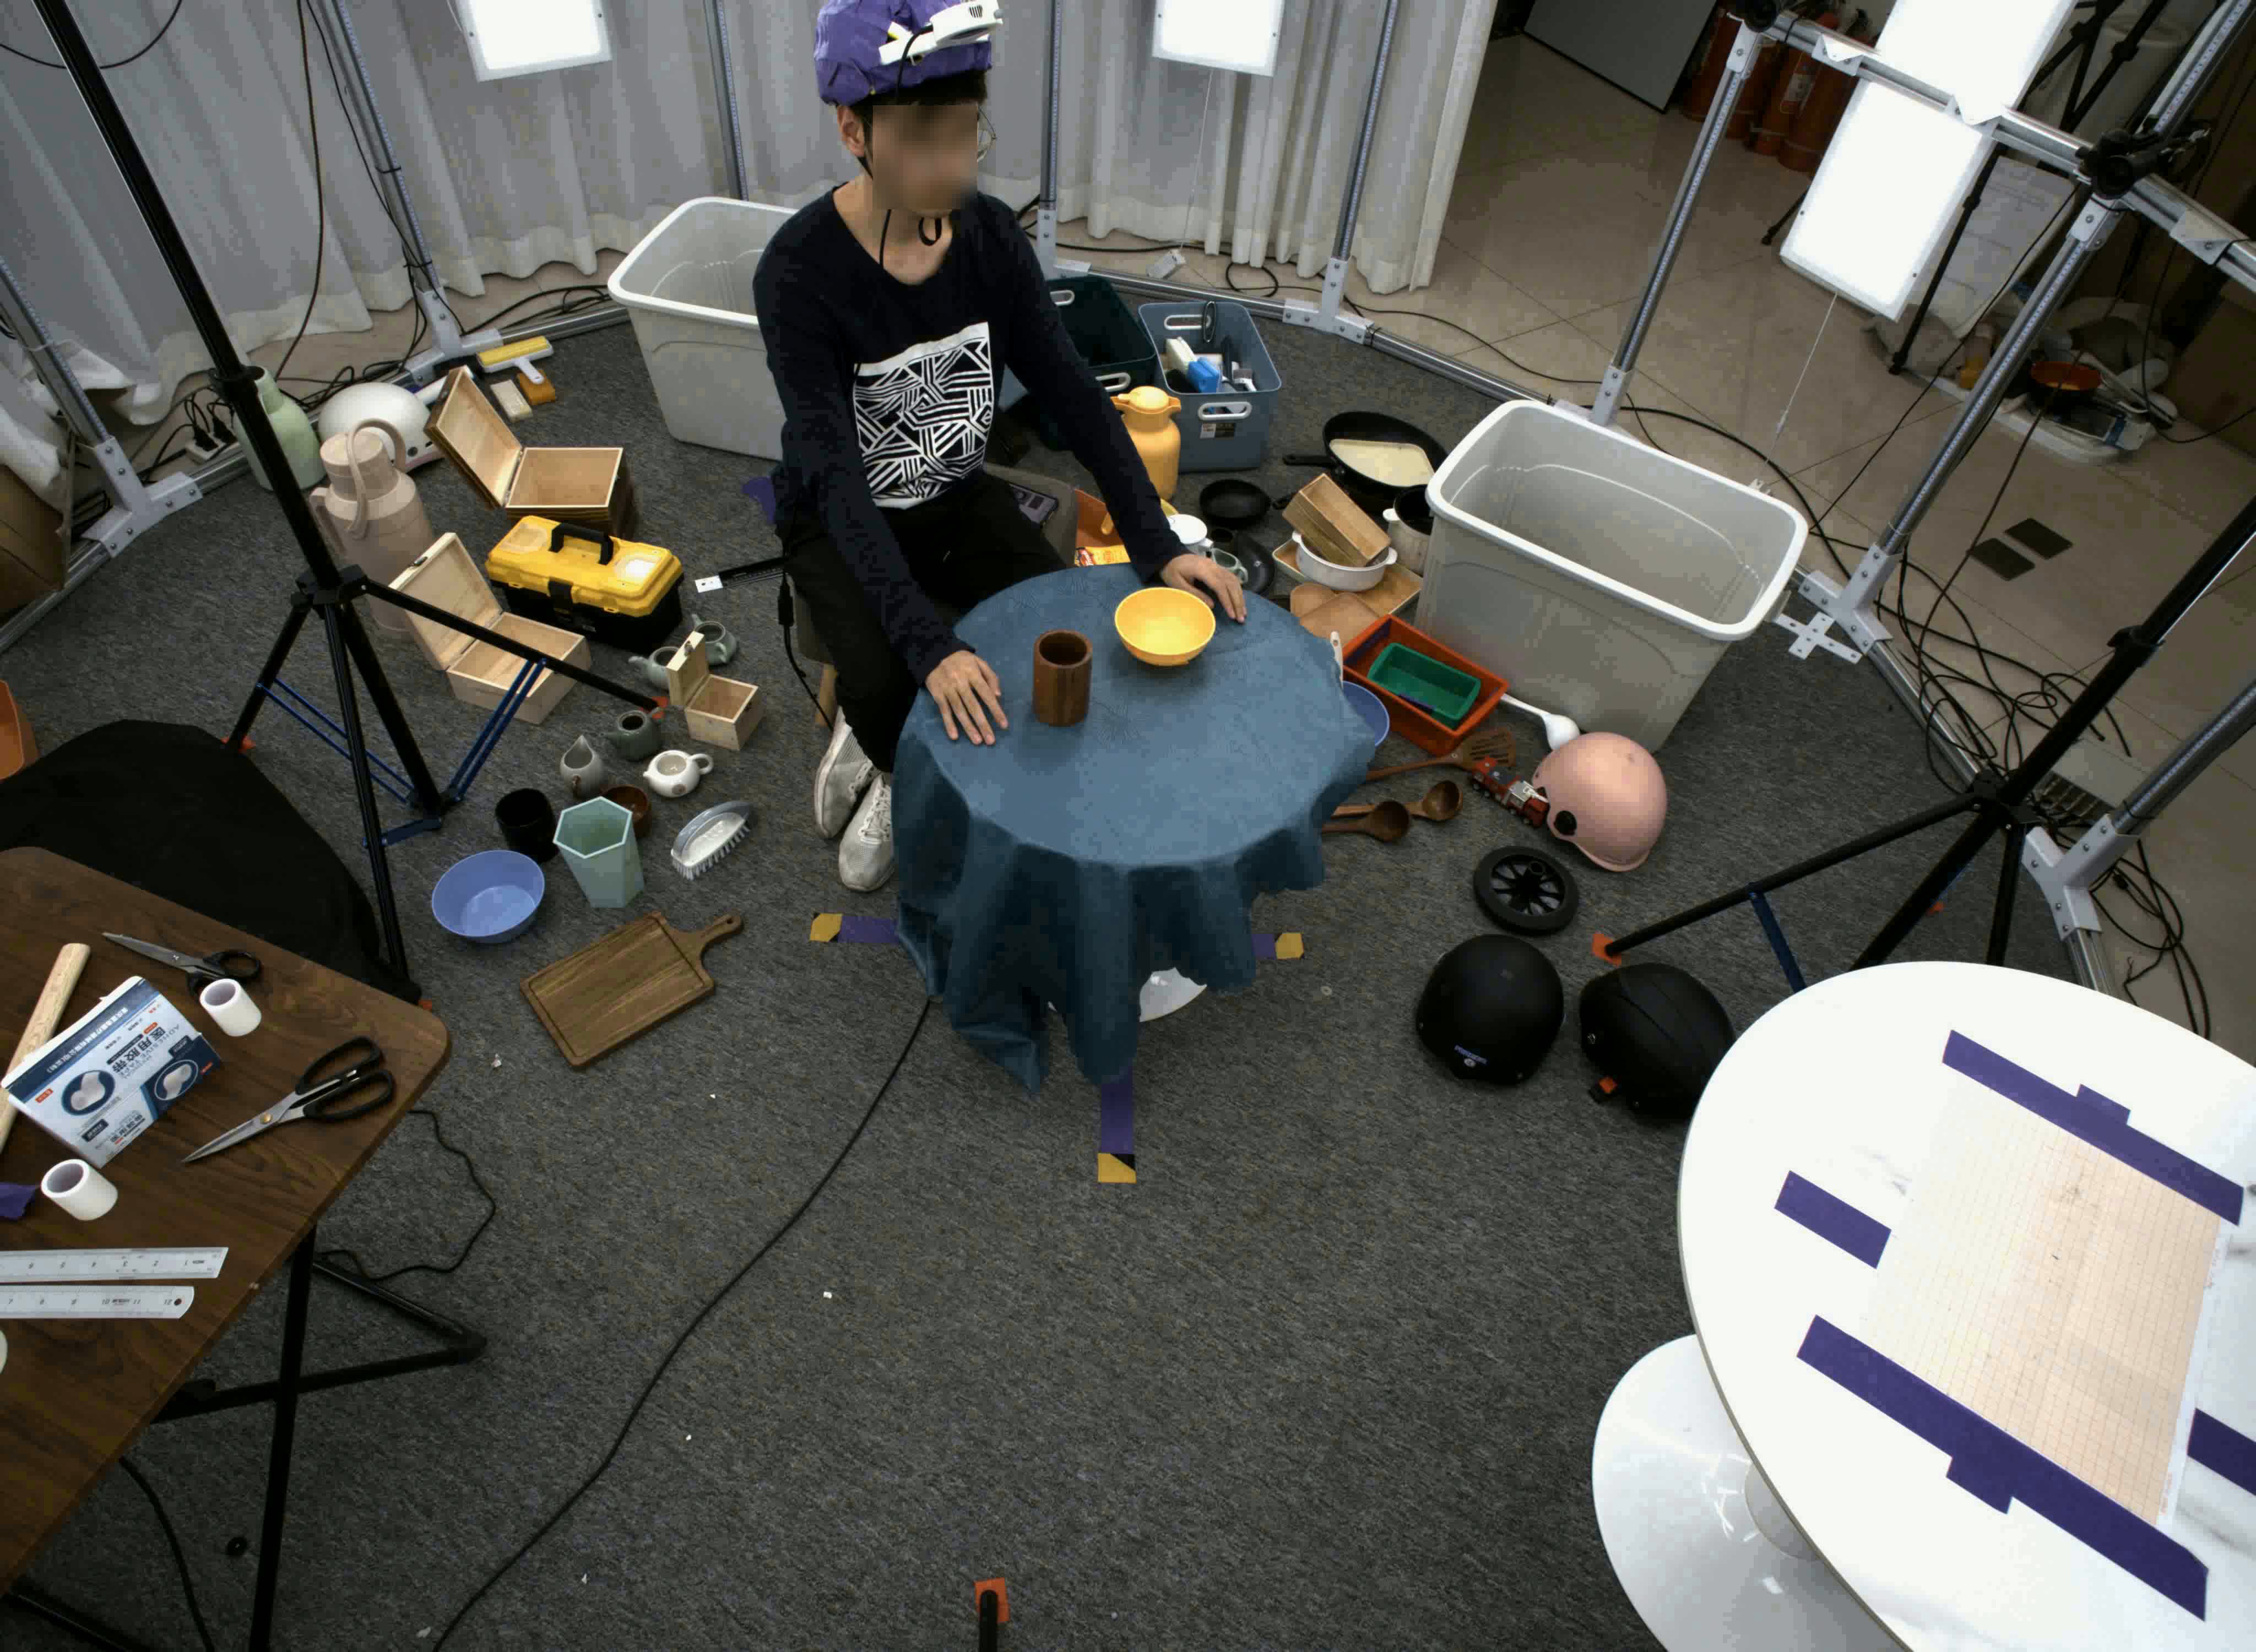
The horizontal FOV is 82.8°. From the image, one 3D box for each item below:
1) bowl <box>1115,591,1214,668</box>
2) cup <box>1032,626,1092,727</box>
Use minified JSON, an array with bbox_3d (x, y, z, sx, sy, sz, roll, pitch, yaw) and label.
[{"bbox_3d":[0.051,-0.276,1.875,0.145,0.058,0.149,1,47,-2],"label":"bowl"},{"bbox_3d":[-0.092,-0.205,1.764,0.087,0.115,0.090,3,47,-3],"label":"cup"}]
